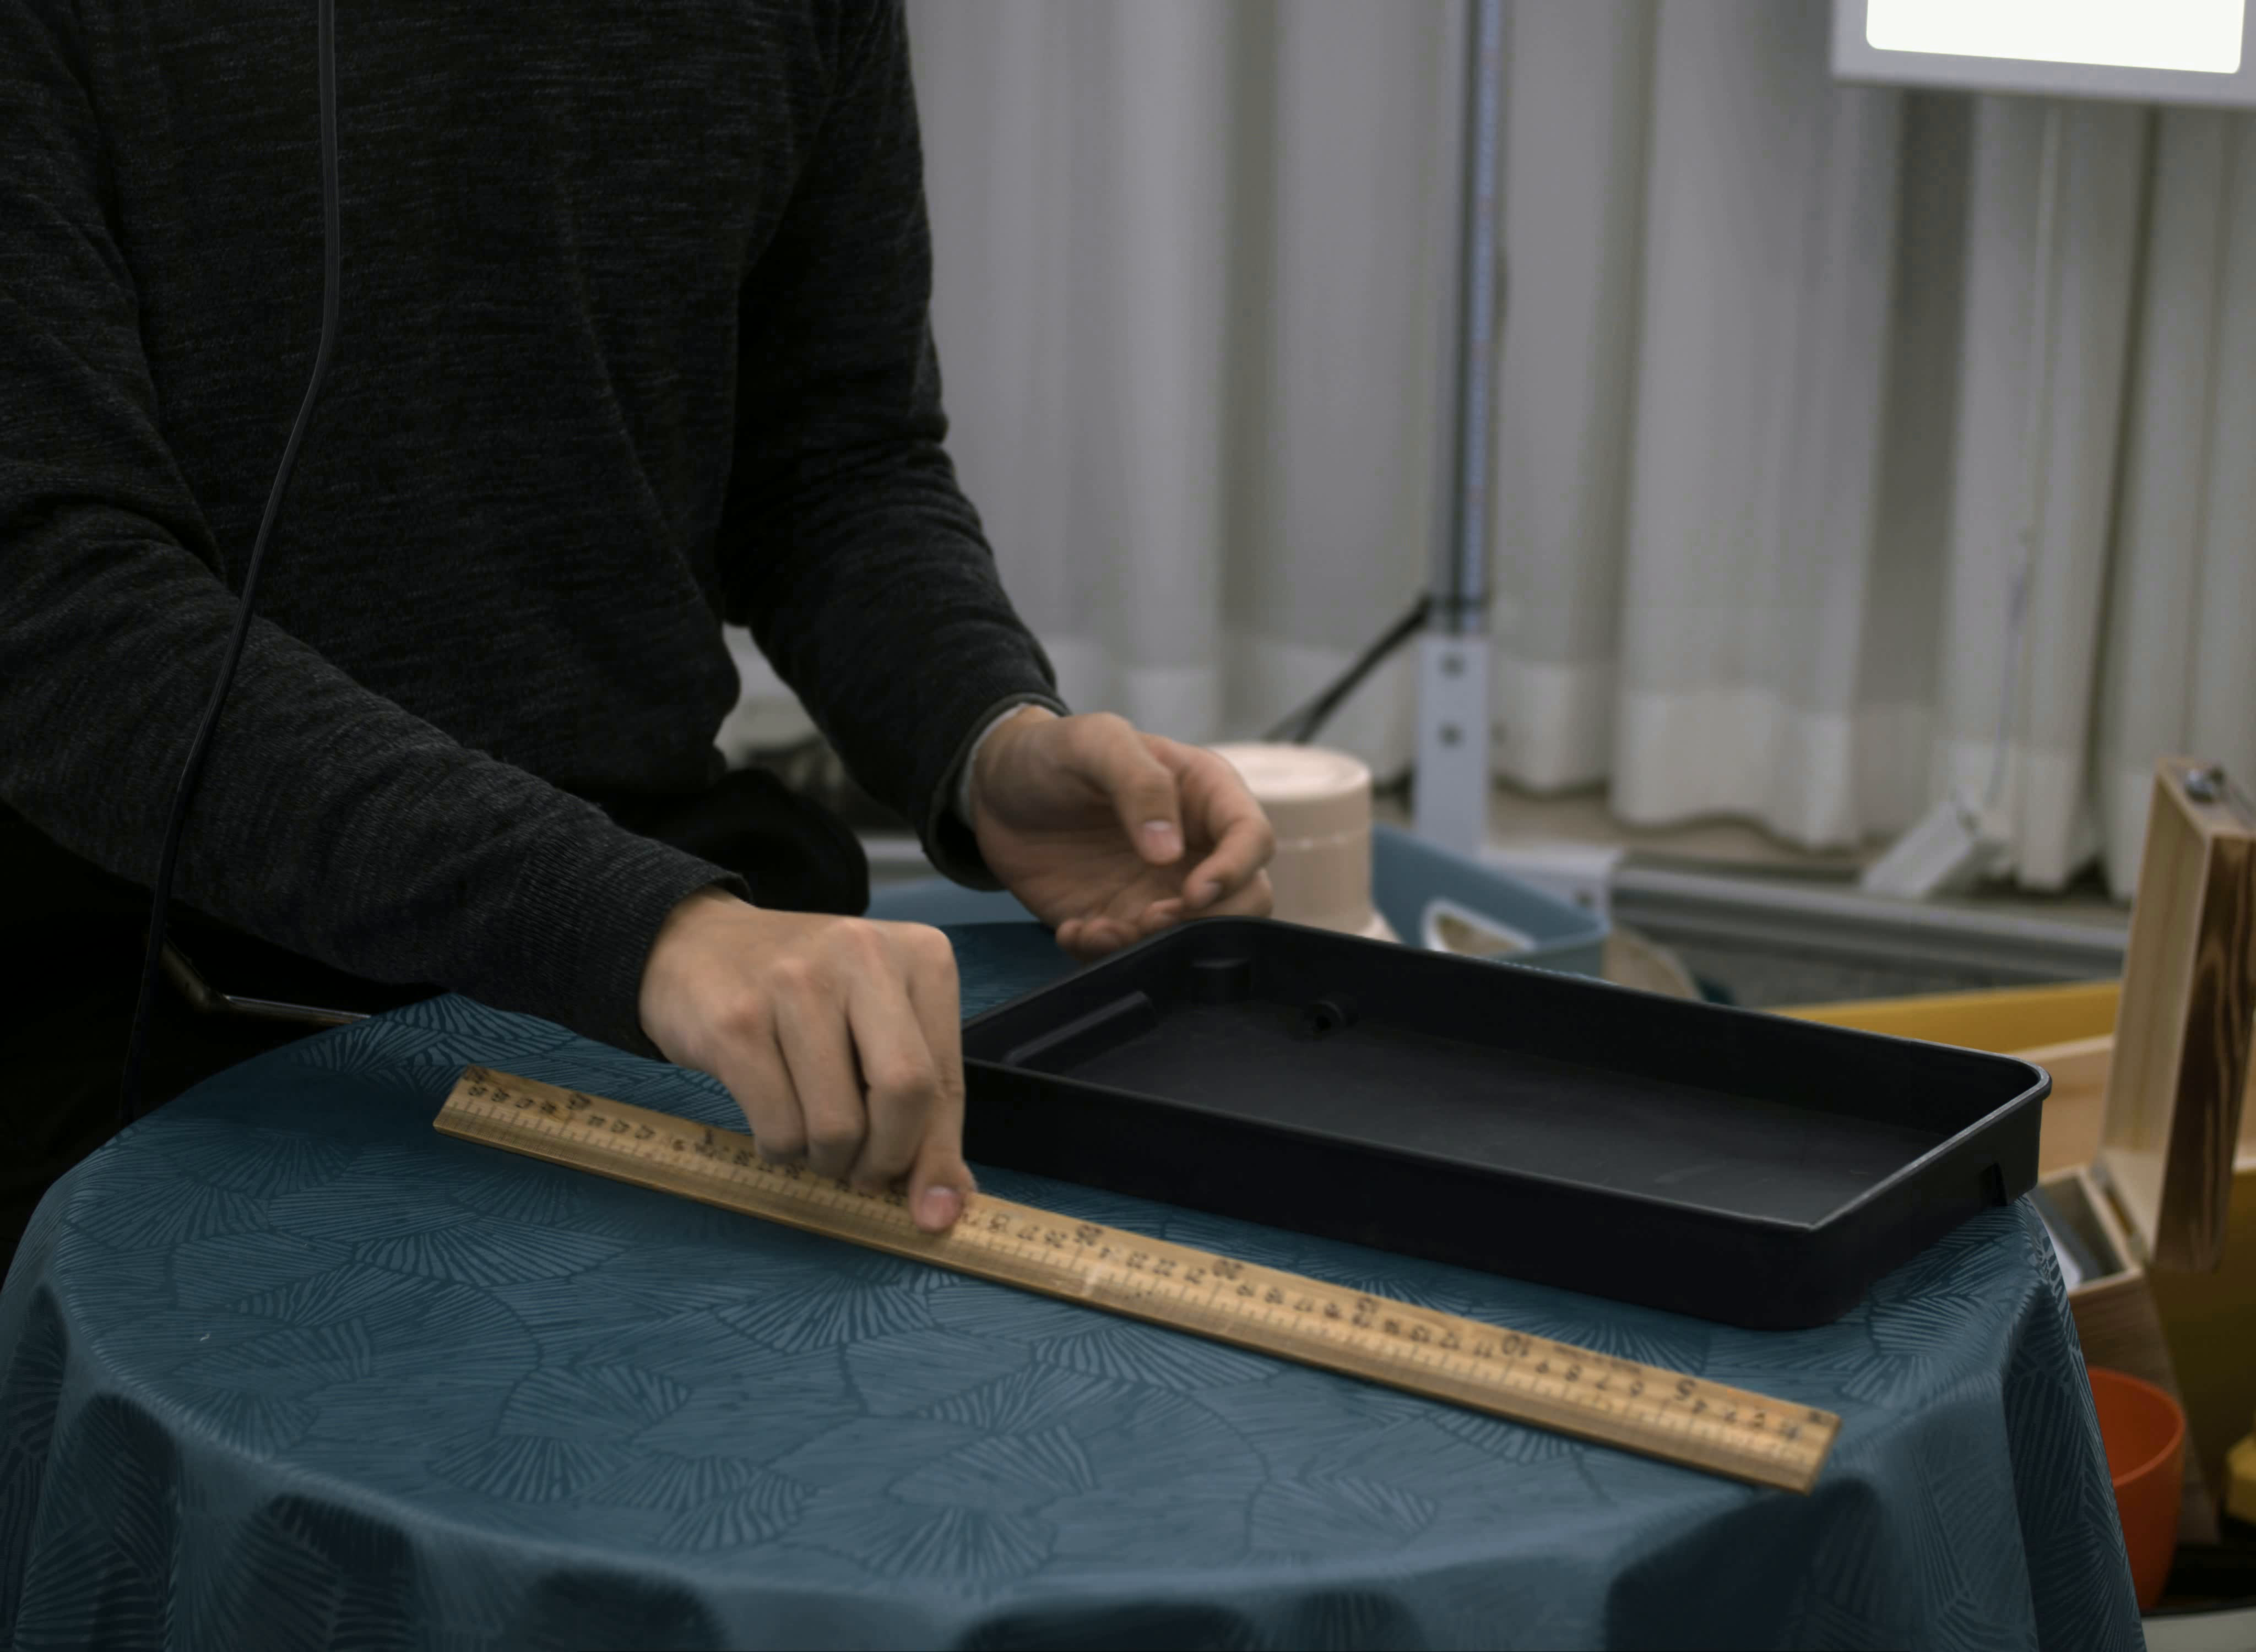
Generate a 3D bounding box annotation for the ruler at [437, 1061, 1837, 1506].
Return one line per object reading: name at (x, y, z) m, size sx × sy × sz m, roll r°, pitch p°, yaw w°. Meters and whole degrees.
ruler at (-0.015, 0.126, 1.531) m, size 0.494 × 0.006 × 0.027 m, roll 12°, pitch 64°, yaw 35°

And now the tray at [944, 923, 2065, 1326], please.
tray at (0.116, 0.089, 1.643) m, size 0.314 × 0.037 × 0.185 m, roll 9°, pitch 17°, yaw 30°
